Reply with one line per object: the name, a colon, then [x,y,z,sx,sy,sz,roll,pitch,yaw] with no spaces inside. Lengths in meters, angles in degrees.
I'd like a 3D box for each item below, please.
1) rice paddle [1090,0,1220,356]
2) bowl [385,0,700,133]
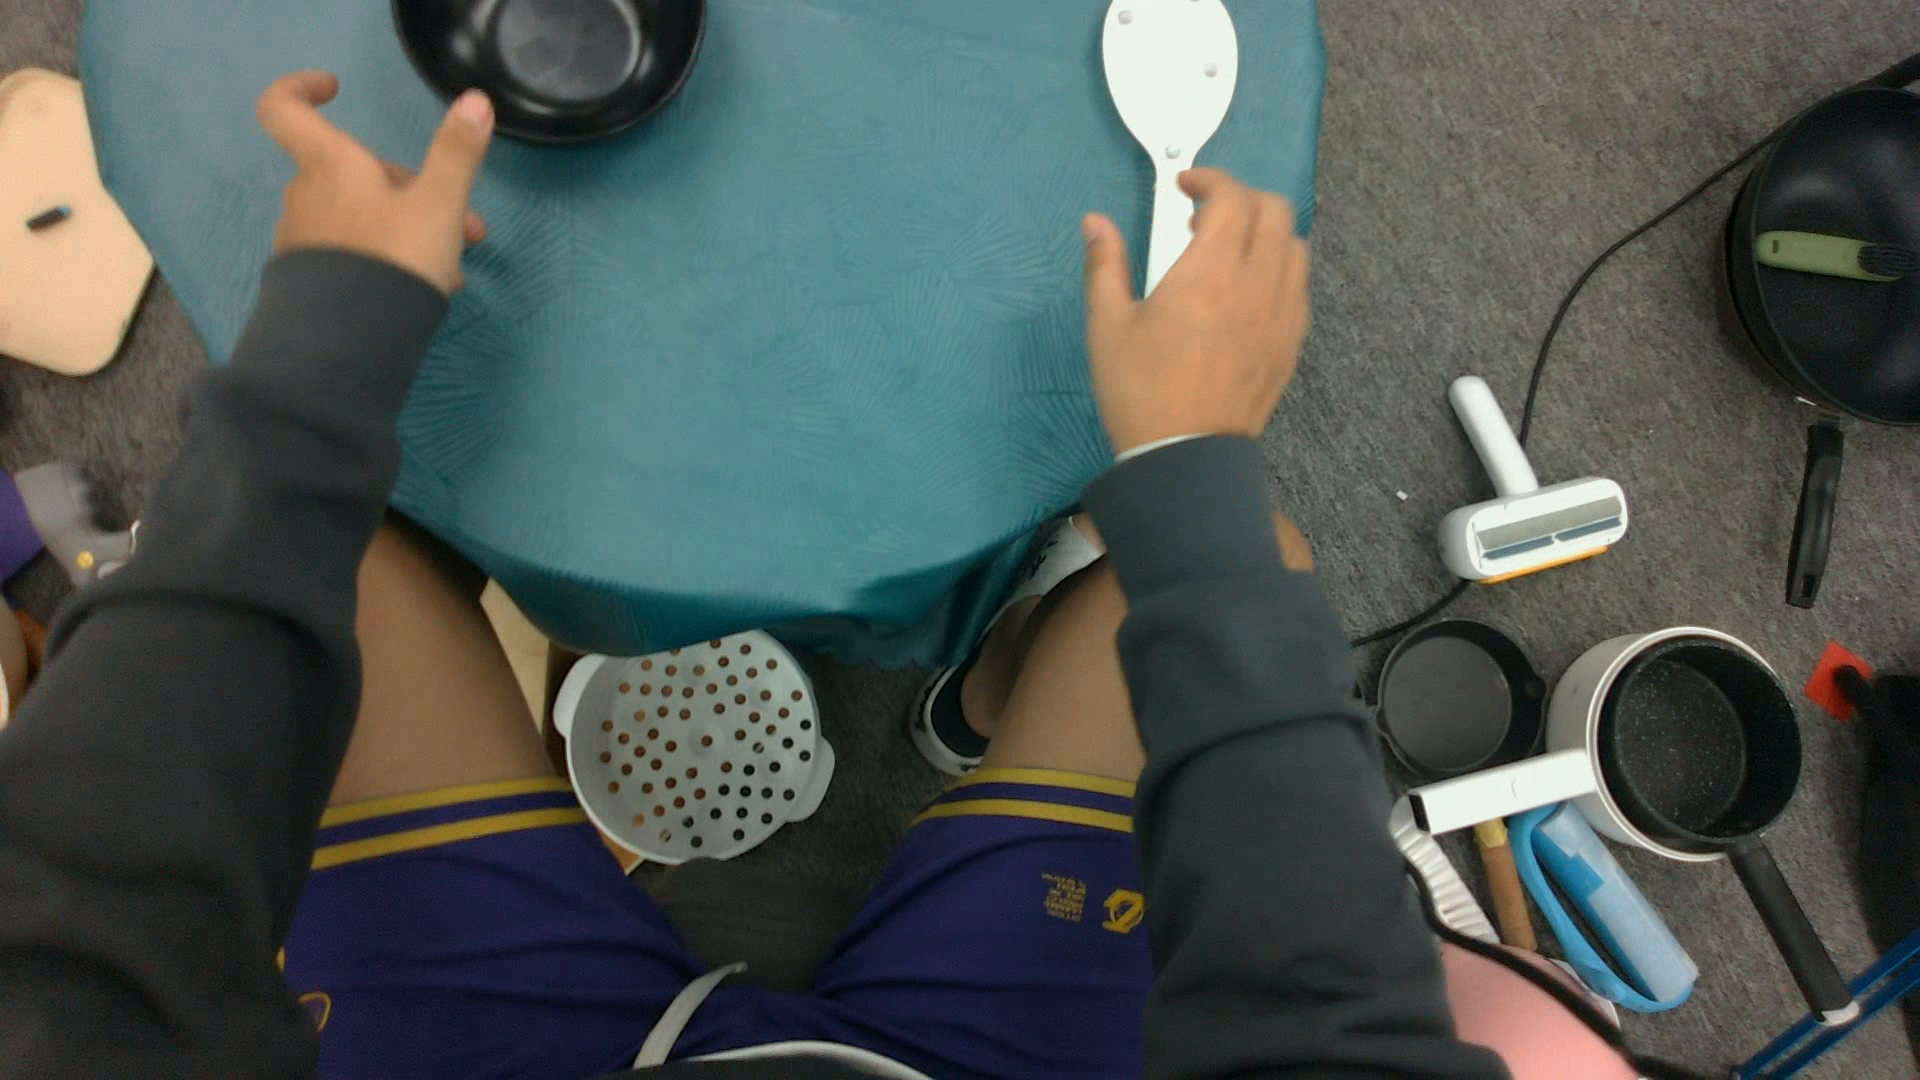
rice paddle: [0.099,-0.195,0.689,0.069,0.029,0.205,0,85,-10]
bowl: [-0.191,-0.251,0.640,0.140,0.049,0.140,1,86,-10]
